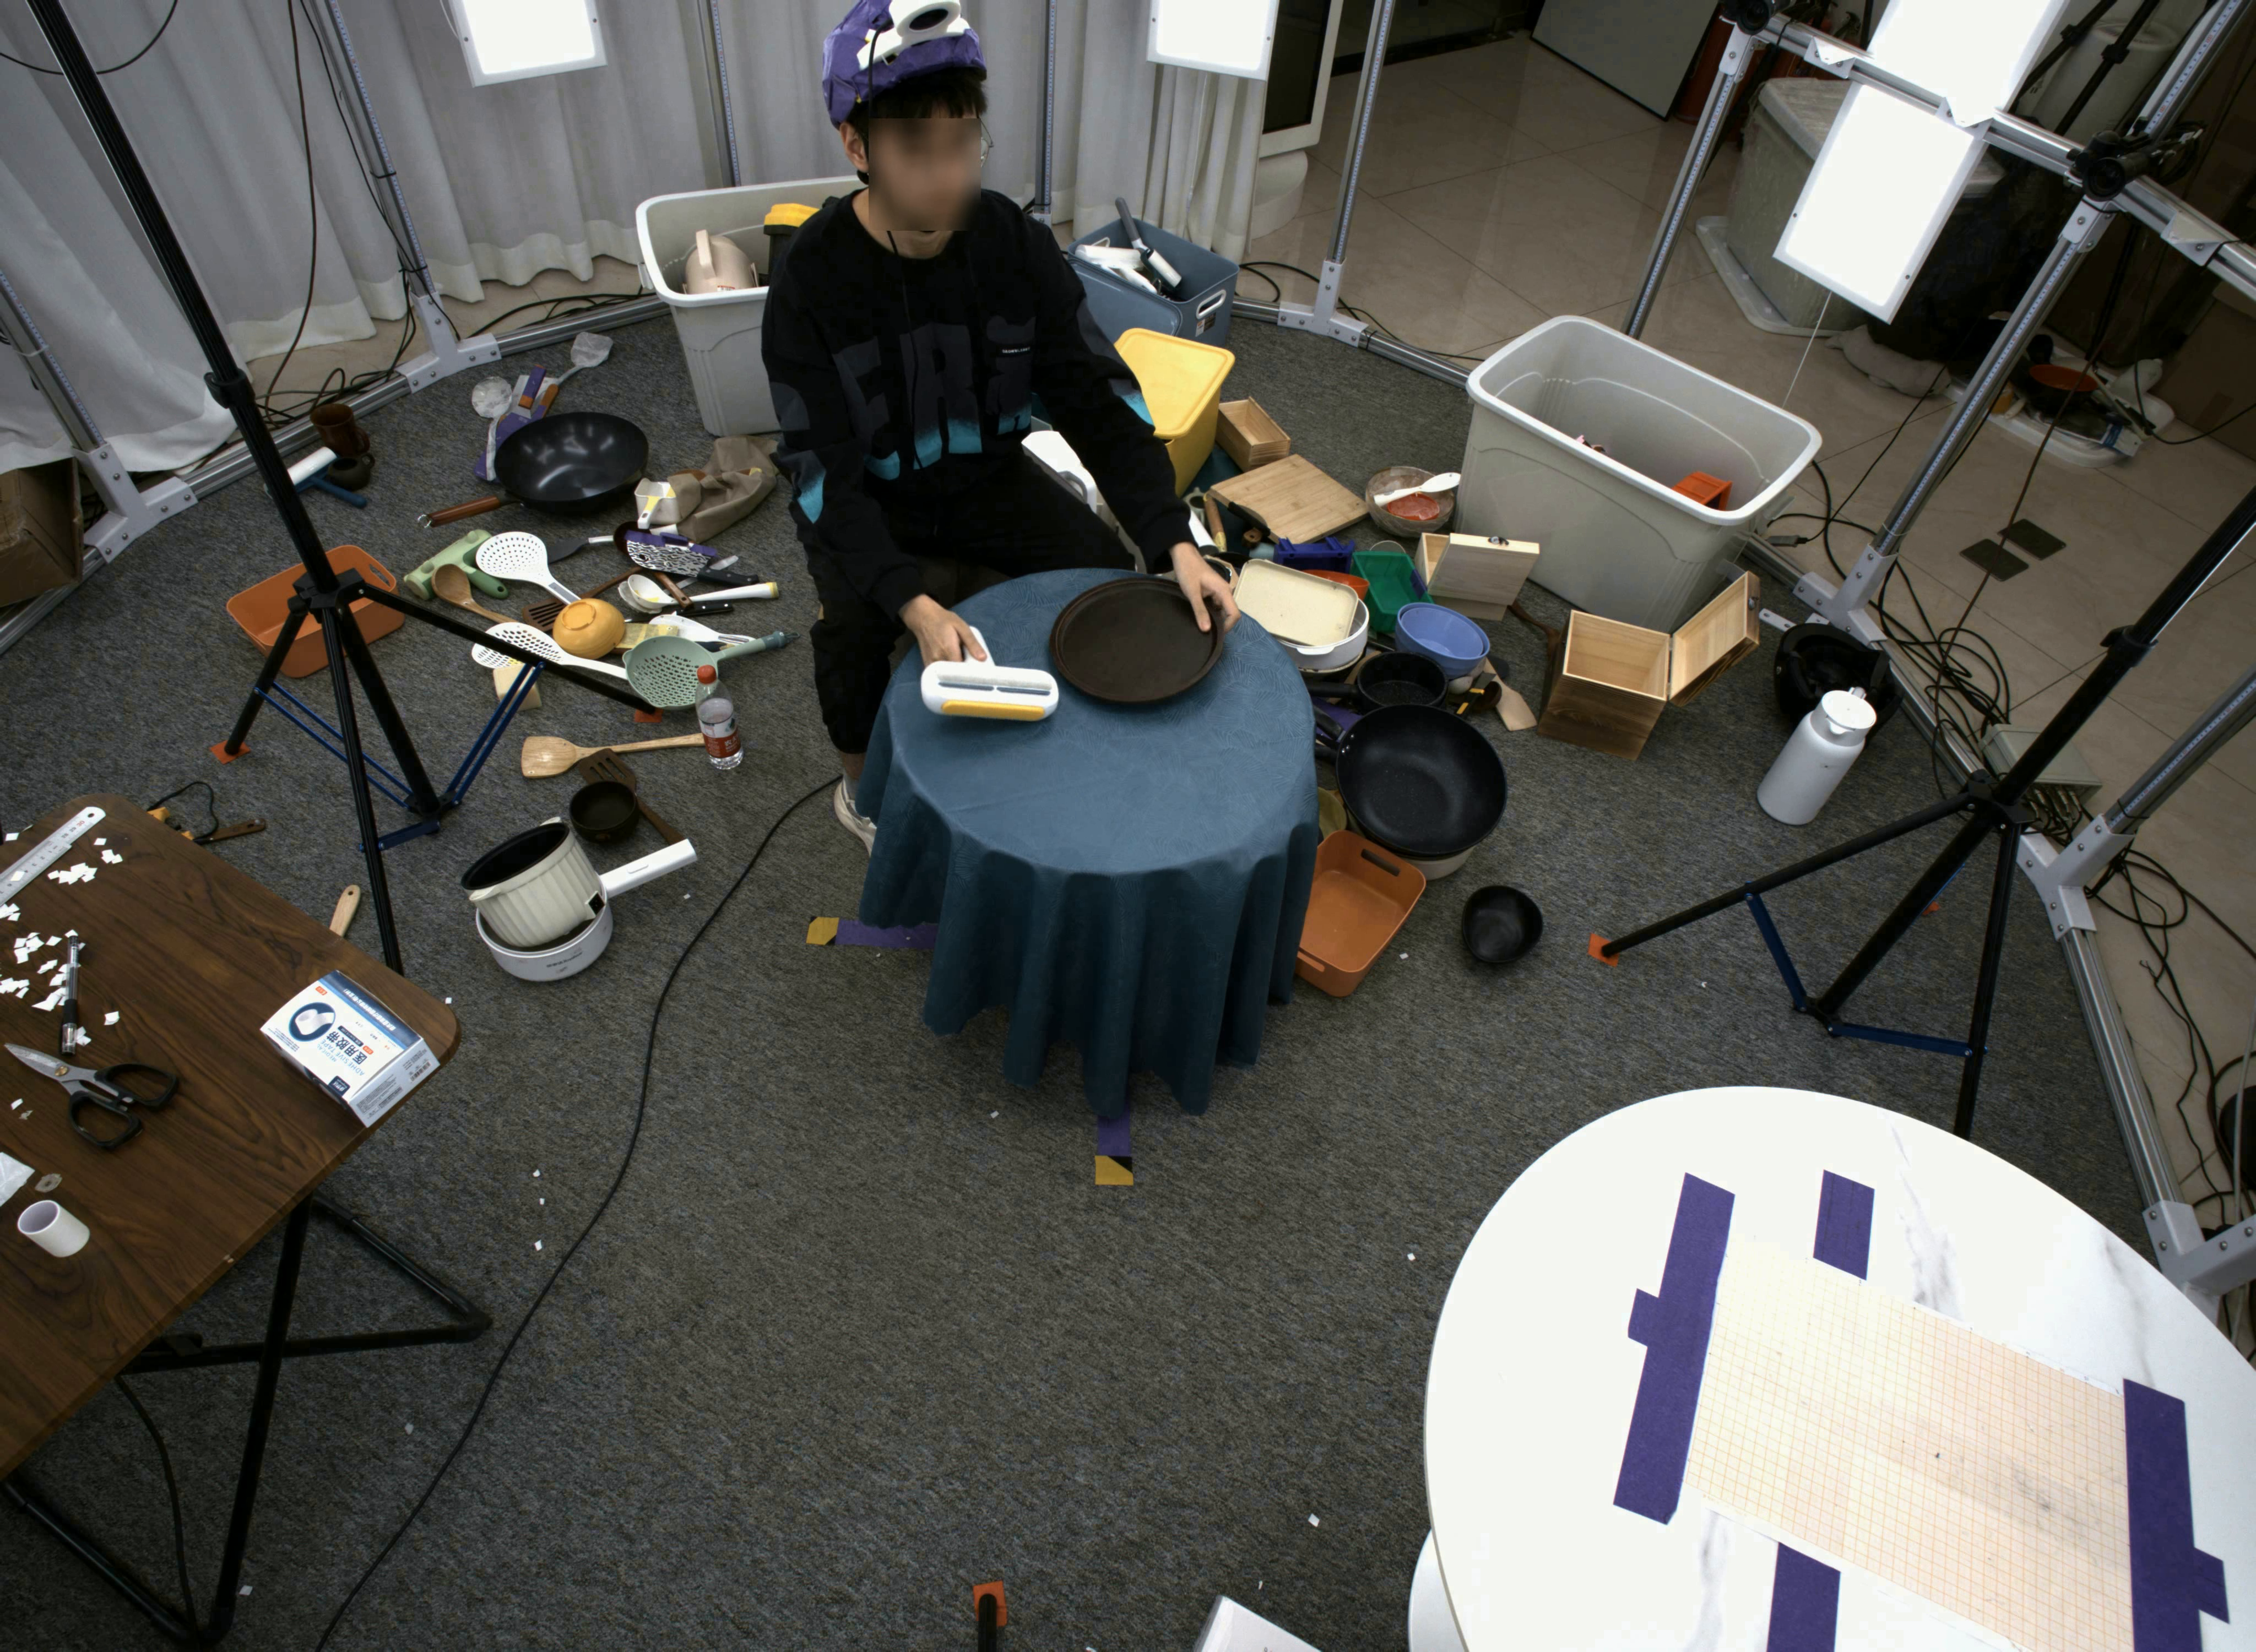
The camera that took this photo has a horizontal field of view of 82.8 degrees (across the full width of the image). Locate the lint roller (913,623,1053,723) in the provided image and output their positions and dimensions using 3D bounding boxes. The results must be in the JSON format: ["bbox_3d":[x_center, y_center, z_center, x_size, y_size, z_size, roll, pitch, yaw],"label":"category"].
[{"bbox_3d":[-0.207,-0.226,1.791,0.192,0.072,0.197,3,50,-19],"label":"lint roller"}]

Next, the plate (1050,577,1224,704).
[{"bbox_3d":[0.014,-0.270,1.869,0.255,0.028,0.261,-4,49,4],"label":"plate"}]
